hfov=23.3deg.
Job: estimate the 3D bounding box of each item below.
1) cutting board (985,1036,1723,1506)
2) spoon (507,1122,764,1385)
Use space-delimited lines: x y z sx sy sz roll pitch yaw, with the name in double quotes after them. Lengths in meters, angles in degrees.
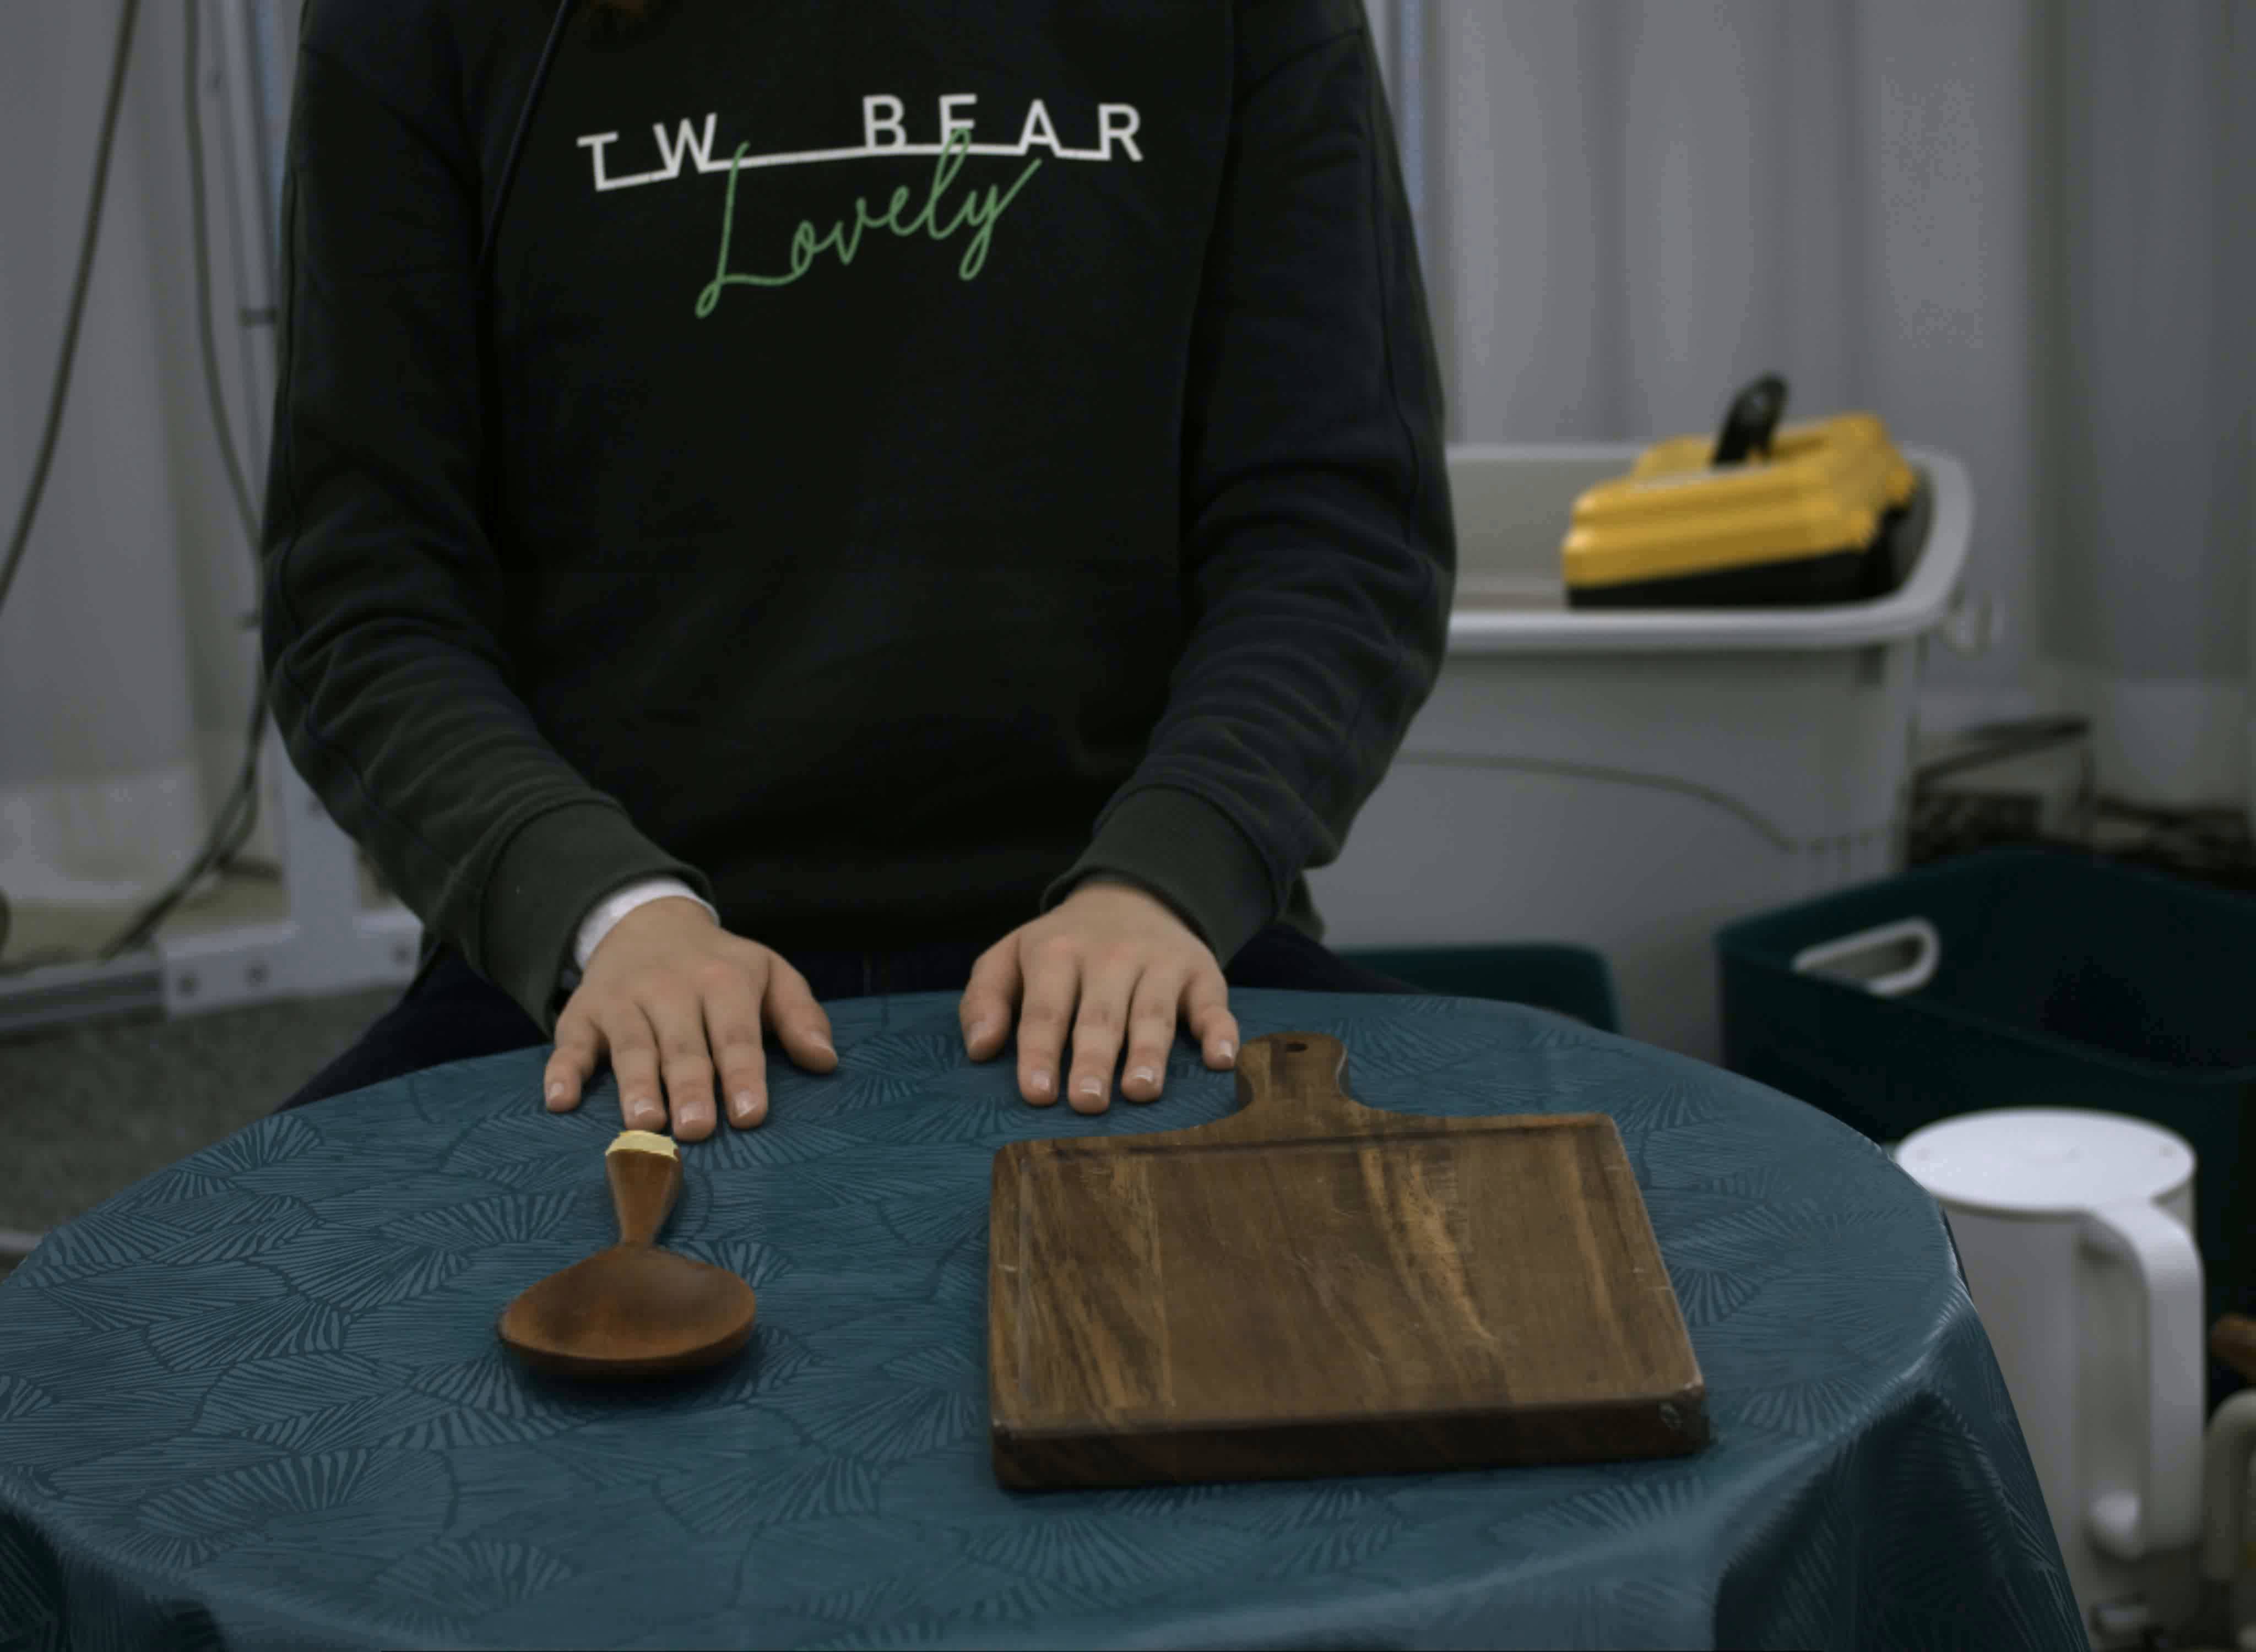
0.057 0.124 1.637 0.200 0.023 0.354 -4 15 0 "cutting board"
-0.147 0.130 1.651 0.075 0.017 0.217 -5 16 -2 "spoon"
